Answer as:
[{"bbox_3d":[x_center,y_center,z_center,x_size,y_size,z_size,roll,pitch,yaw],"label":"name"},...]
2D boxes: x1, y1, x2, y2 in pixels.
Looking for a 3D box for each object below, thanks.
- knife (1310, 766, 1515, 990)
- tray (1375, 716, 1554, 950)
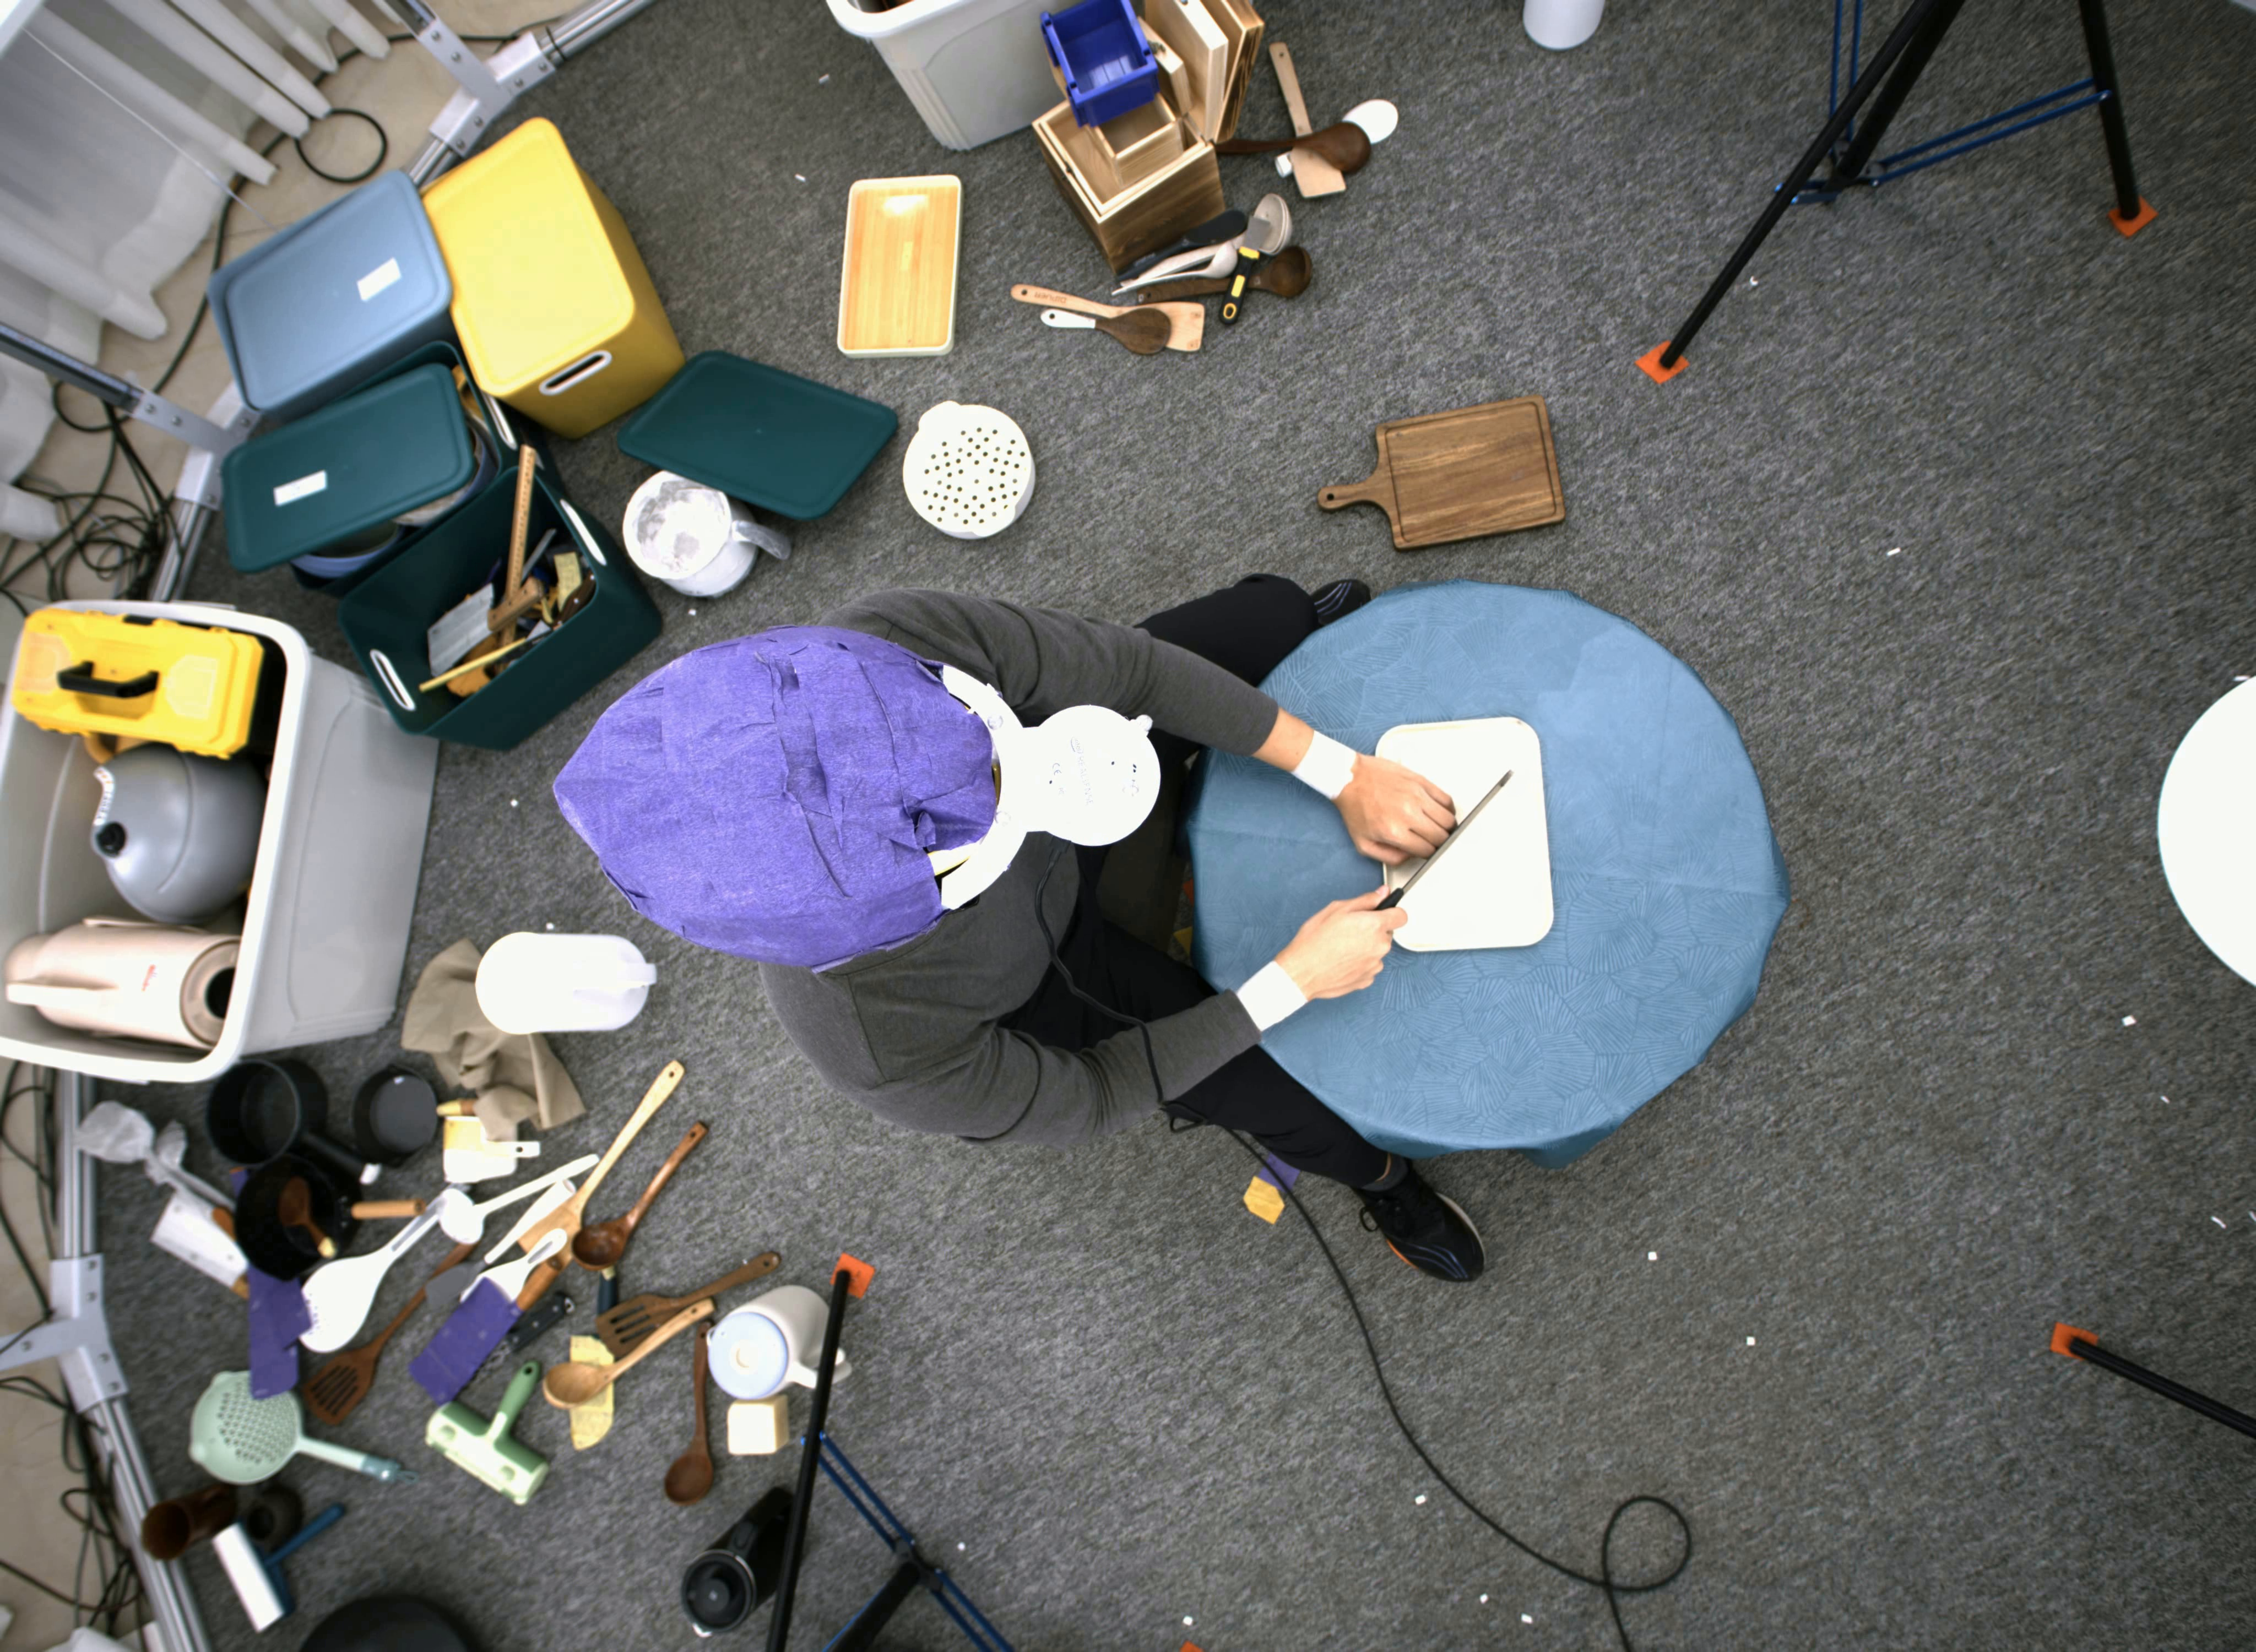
[{"bbox_3d":[0.293,0.051,1.407,0.021,0.081,0.302,44,90,17],"label":"knife"},{"bbox_3d":[0.351,0.006,1.440,0.172,0.017,0.238,-4,86,11],"label":"tray"}]
